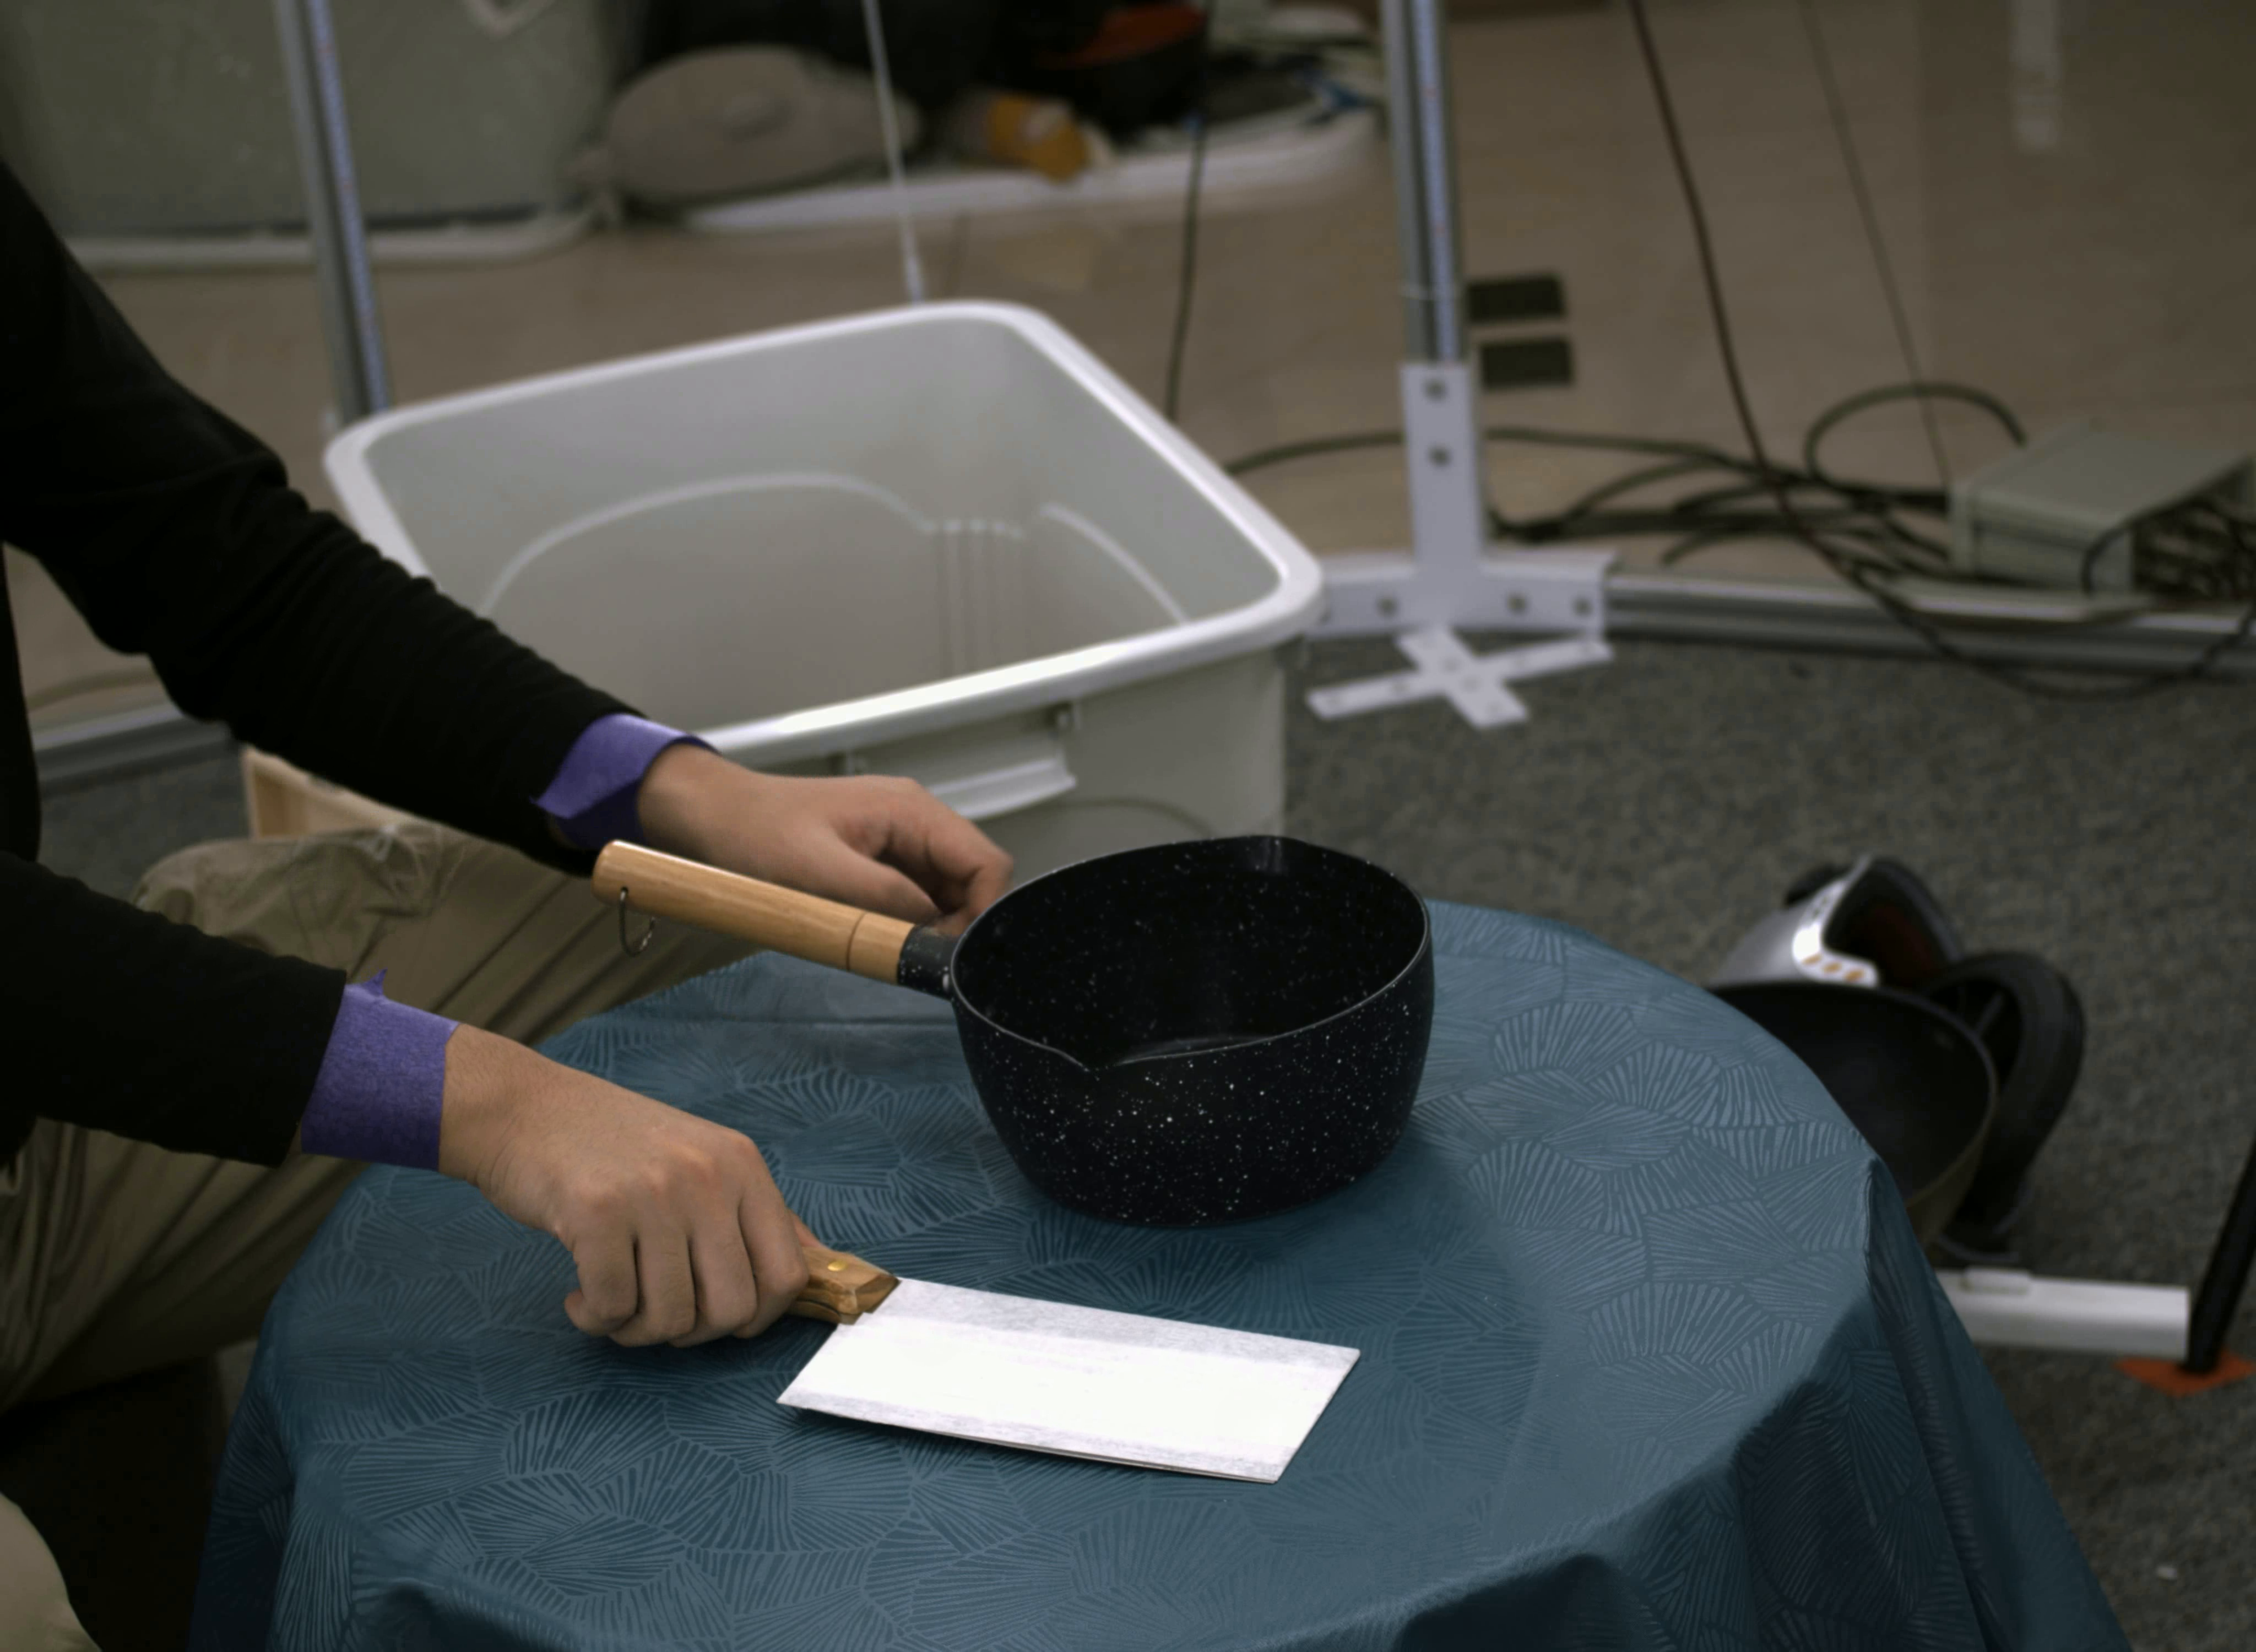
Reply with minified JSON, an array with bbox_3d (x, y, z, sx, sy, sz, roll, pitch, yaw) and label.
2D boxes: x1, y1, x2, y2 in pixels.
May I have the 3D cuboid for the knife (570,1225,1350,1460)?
[{"bbox_3d":[-0.073,0.189,2.041,0.304,0.021,0.091,7,29,21],"label":"knife"}]

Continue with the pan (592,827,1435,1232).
[{"bbox_3d":[-0.048,0.068,2.188,0.342,0.110,0.204,4,28,20],"label":"pan"}]
